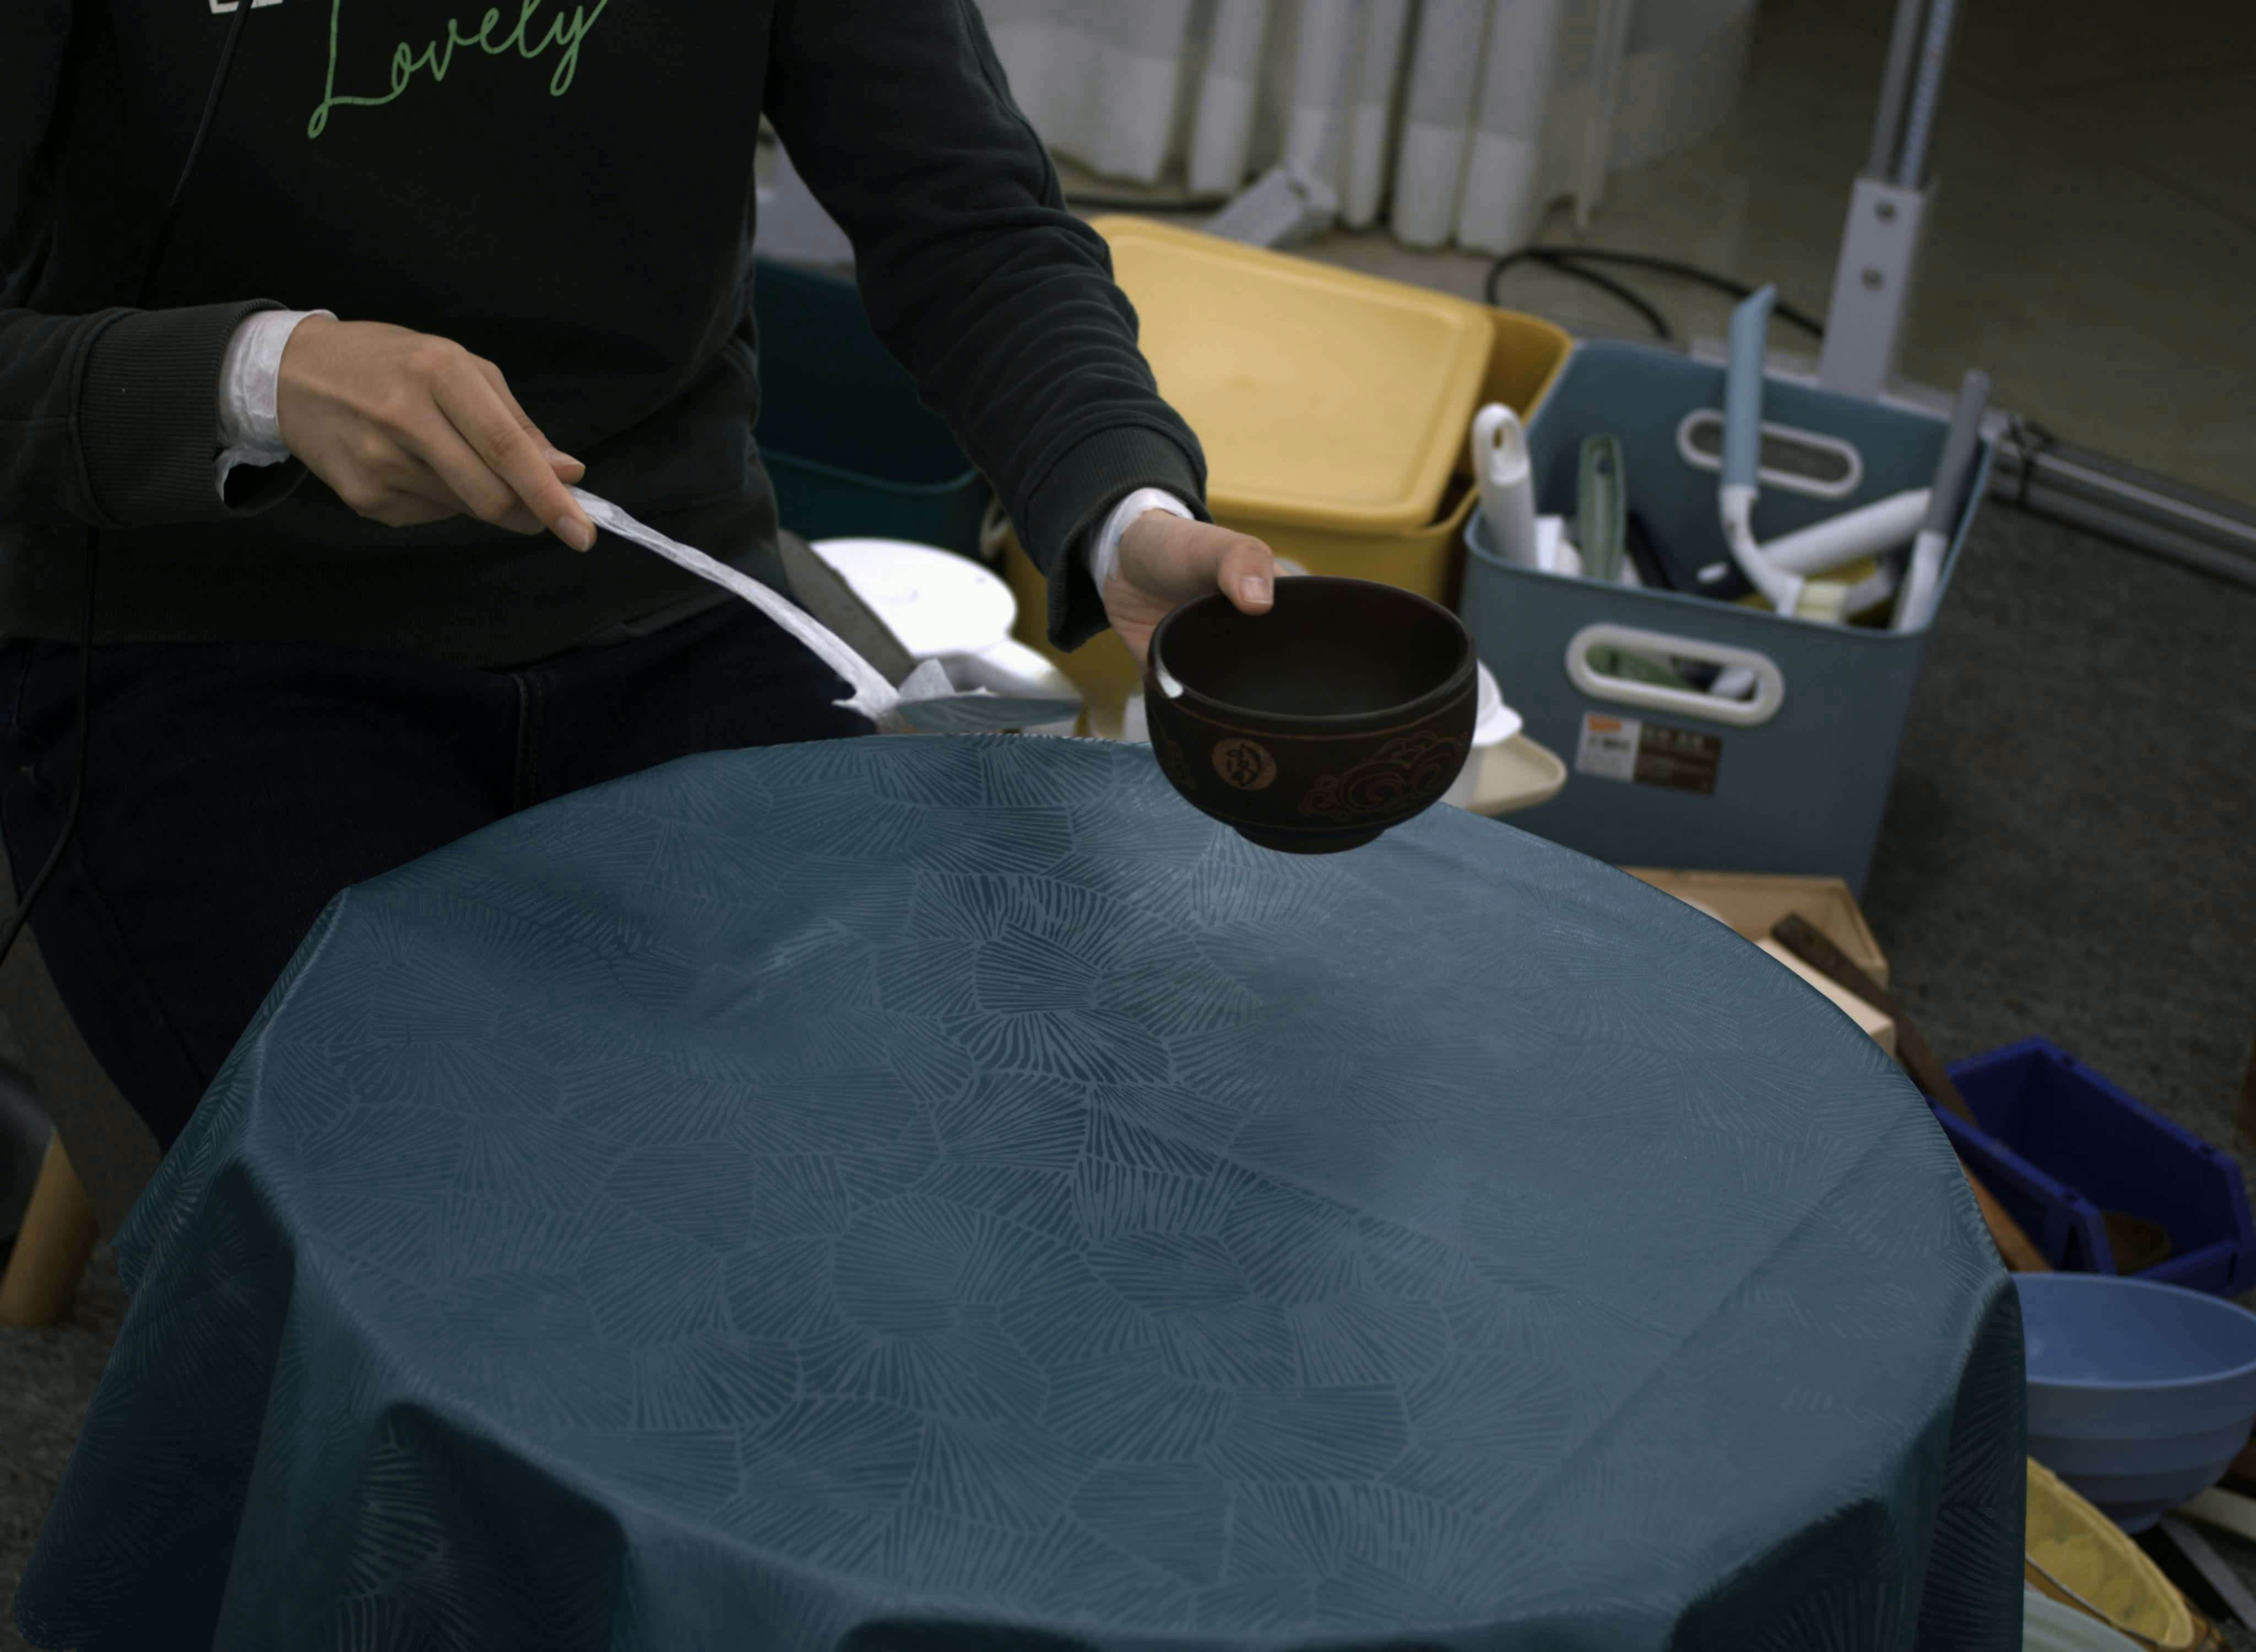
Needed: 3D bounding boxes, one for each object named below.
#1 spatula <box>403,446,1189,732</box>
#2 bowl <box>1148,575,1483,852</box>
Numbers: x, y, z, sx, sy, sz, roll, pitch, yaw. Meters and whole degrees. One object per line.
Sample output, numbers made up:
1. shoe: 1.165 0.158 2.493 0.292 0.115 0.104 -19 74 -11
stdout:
1. spatula: -0.133 -0.088 1.794 0.368 0.045 0.098 27 22 39
2. bowl: 0.065 -0.034 1.873 0.117 0.069 0.119 0 26 0
